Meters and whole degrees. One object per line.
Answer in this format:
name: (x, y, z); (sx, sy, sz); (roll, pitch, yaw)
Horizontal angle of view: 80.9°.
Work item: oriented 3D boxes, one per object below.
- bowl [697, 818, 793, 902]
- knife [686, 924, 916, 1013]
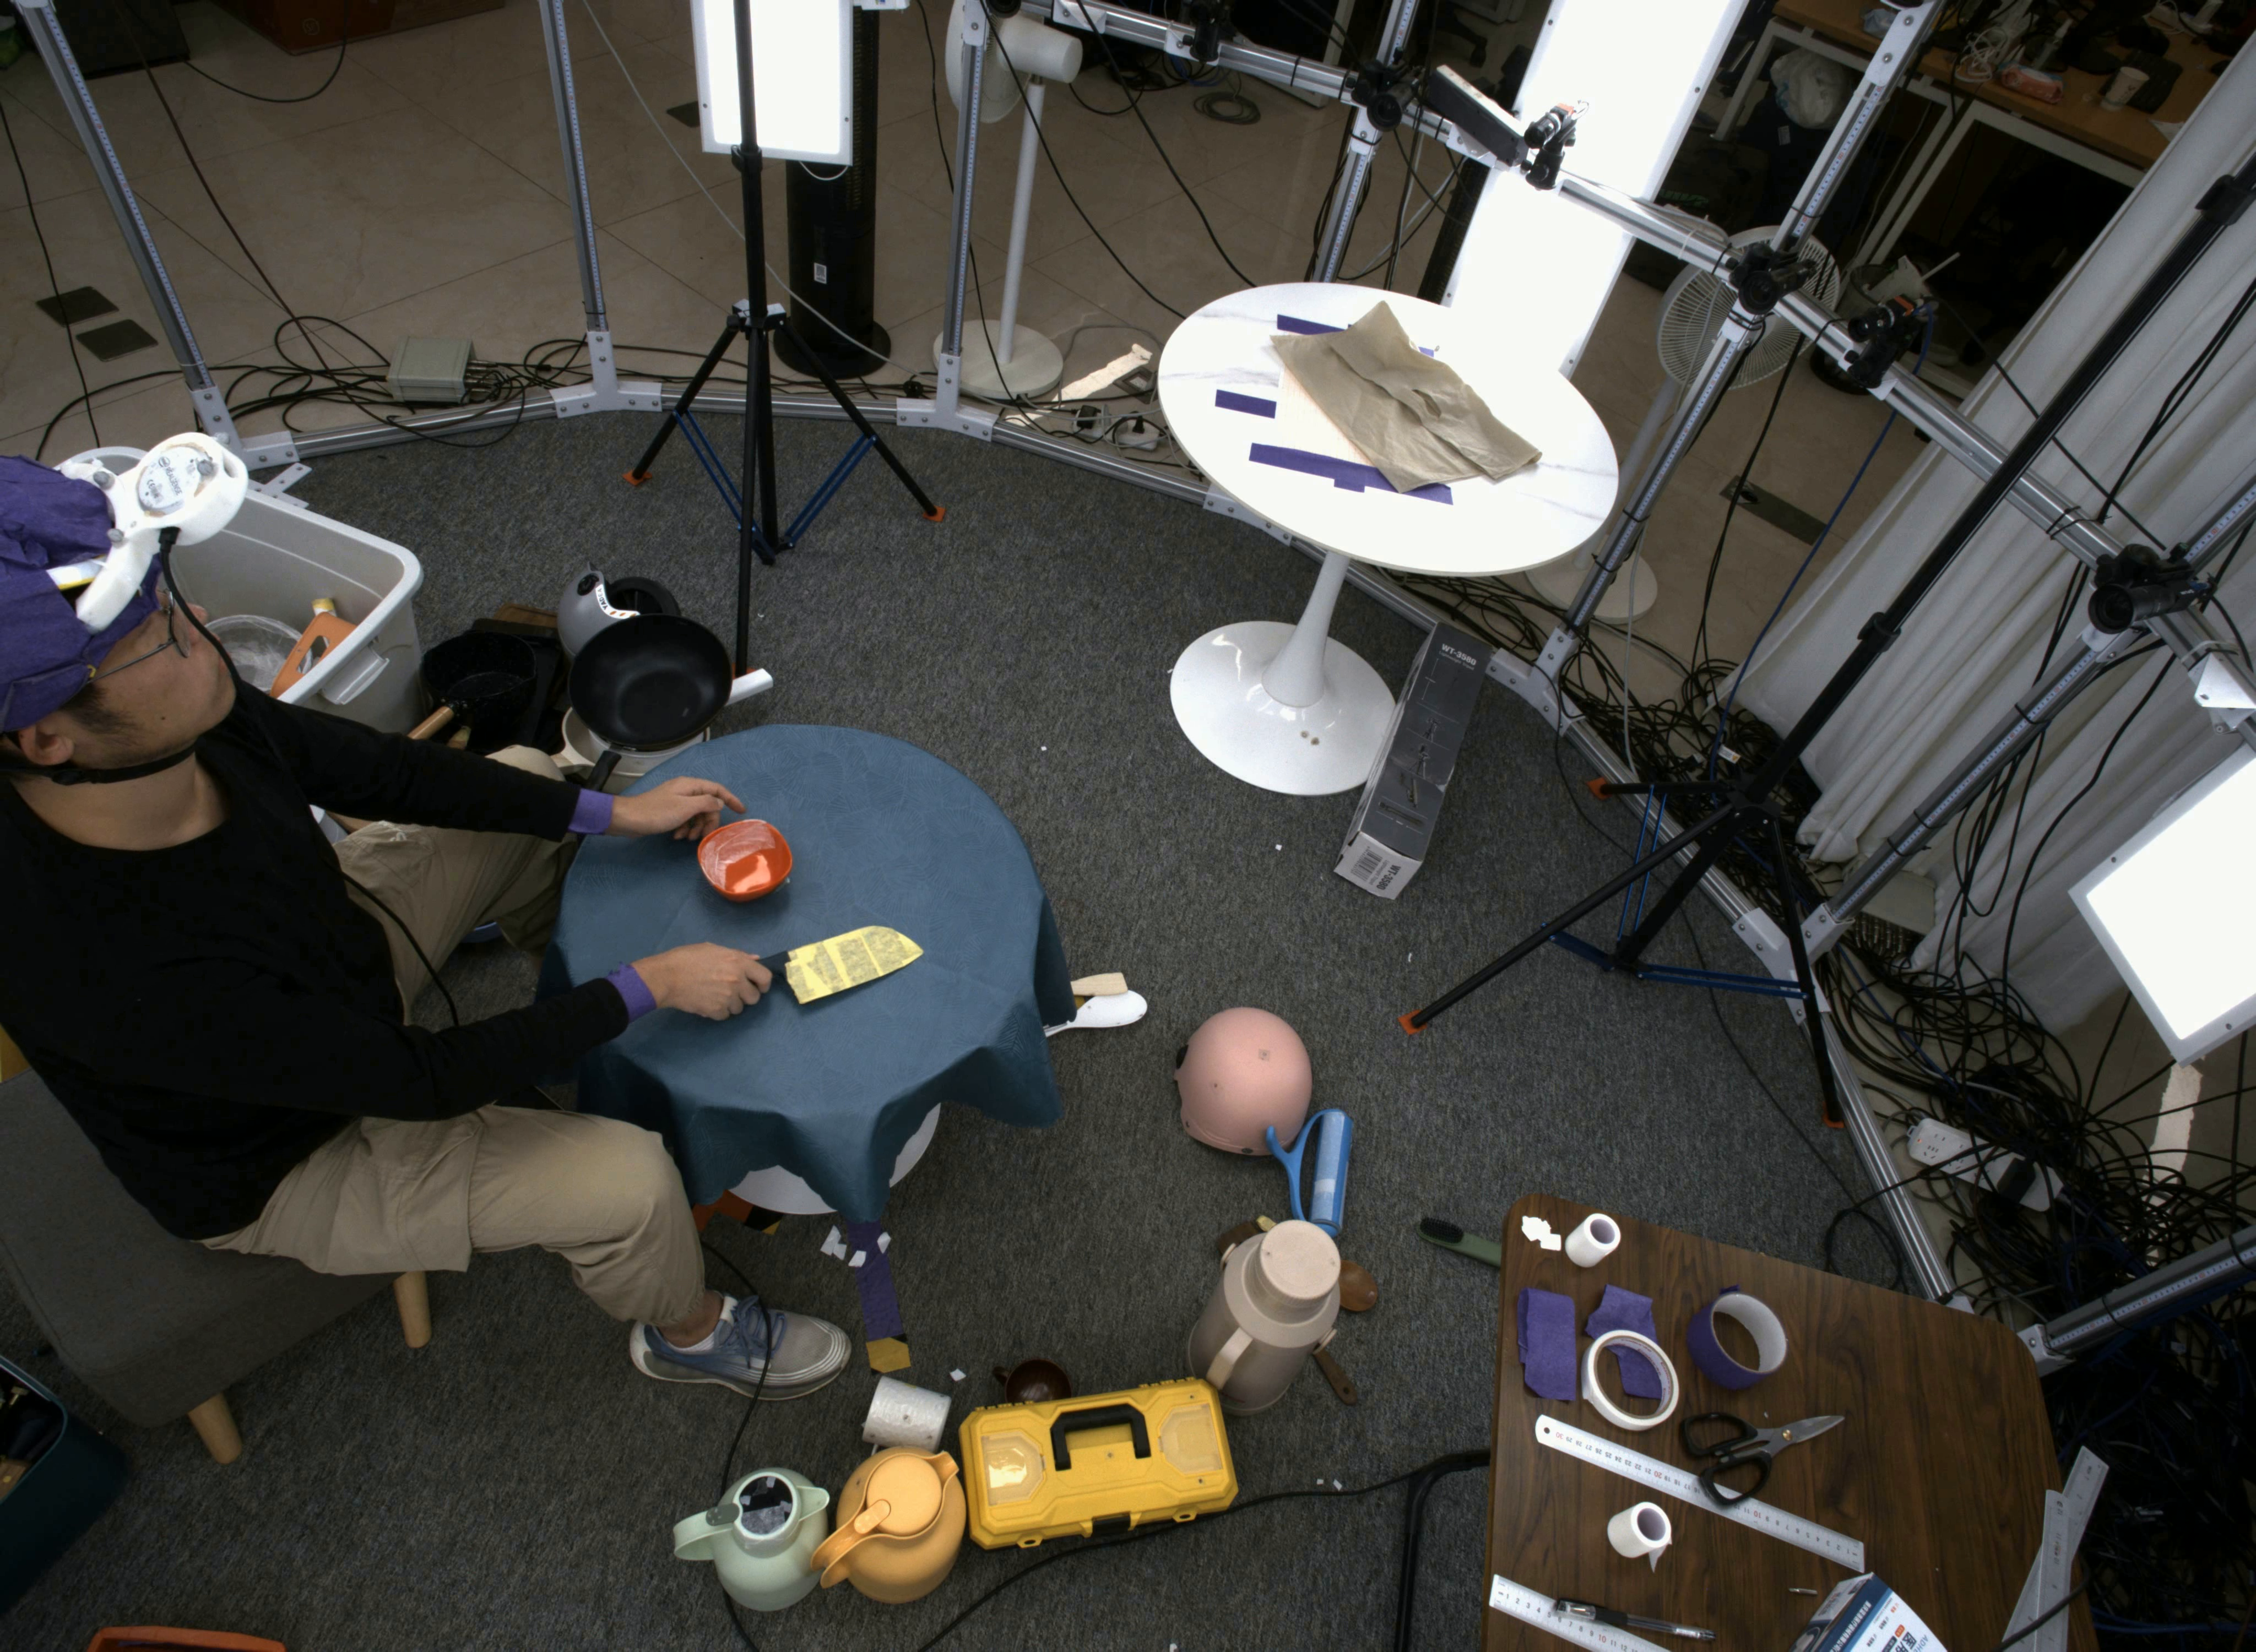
bowl: (-0.483, 0.050, 1.634); (0.119, 0.052, 0.117); (9, 53, -10)
knife: (-0.391, 0.178, 1.576); (0.292, 0.027, 0.079); (-16, 62, -30)
